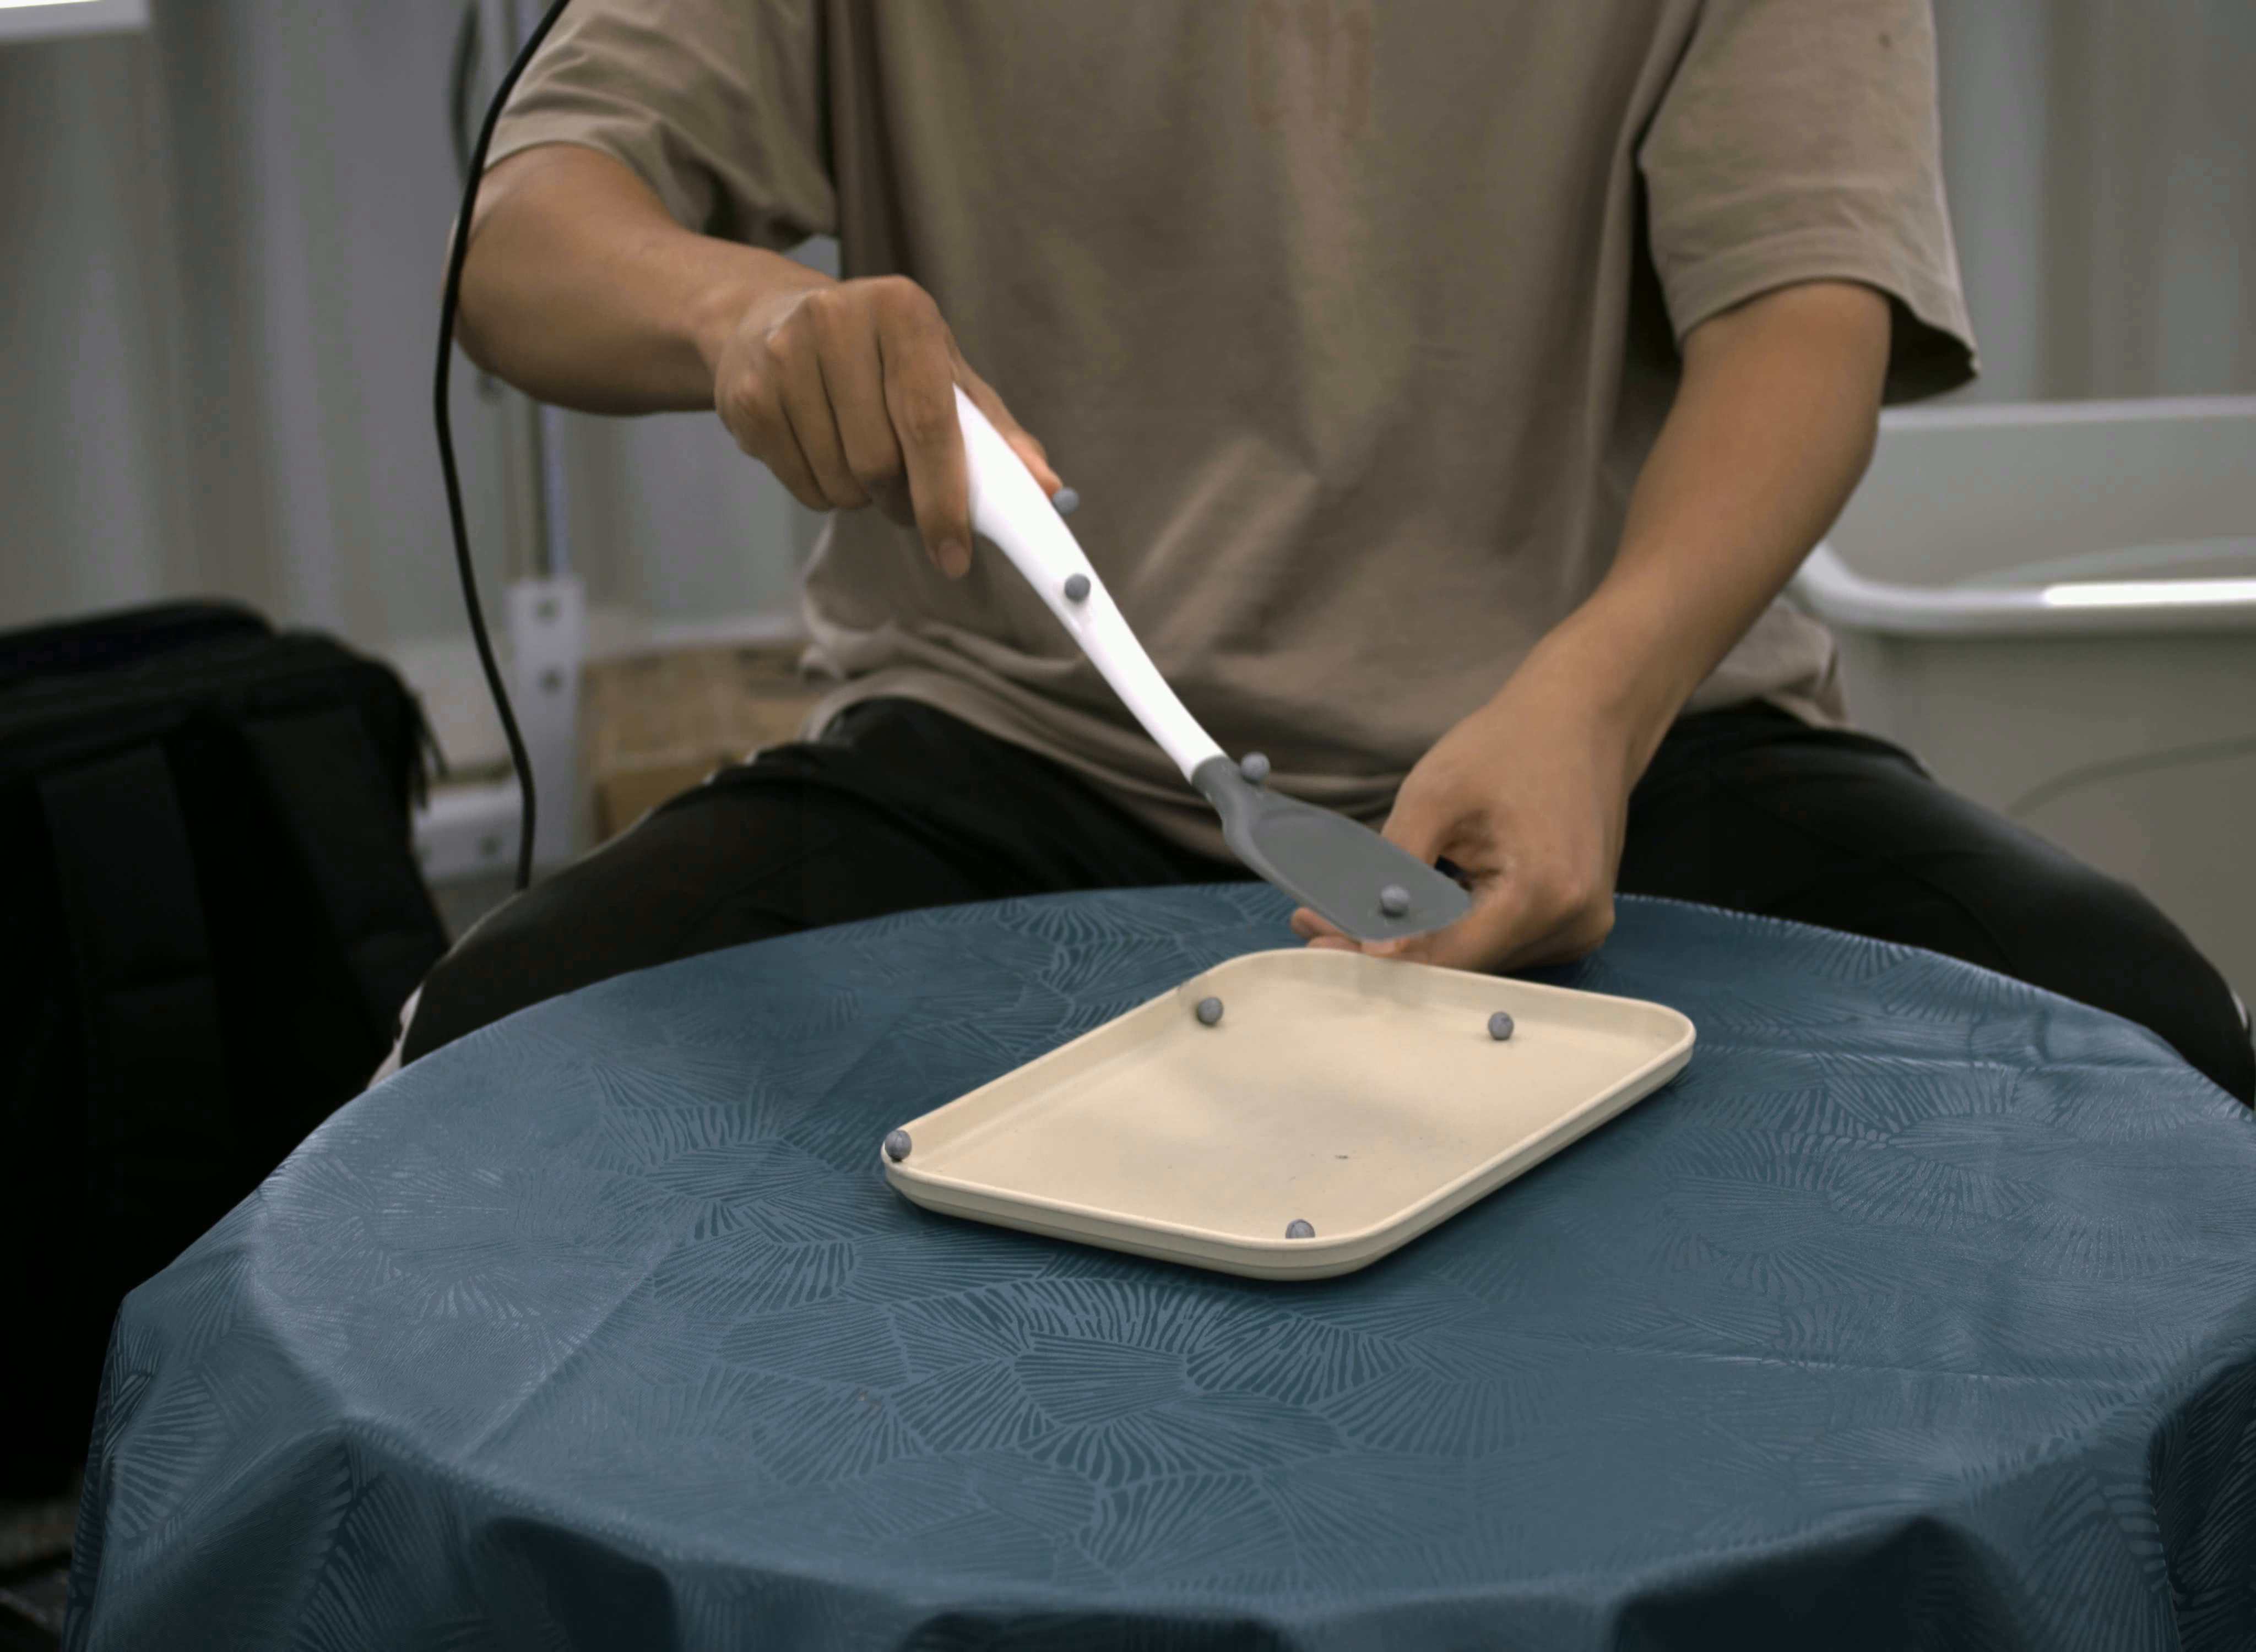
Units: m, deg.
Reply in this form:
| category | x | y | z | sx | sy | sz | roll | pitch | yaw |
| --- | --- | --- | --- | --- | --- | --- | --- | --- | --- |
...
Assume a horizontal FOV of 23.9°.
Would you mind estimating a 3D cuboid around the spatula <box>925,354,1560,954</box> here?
| category | x | y | z | sx | sy | sz | roll | pitch | yaw |
| --- | --- | --- | --- | --- | --- | --- | --- | --- | --- |
| spatula | 0.027 | -0.048 | 1.603 | 0.057 | 0.032 | 0.294 | -7 | 42 | -38 |

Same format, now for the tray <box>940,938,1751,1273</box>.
| category | x | y | z | sx | sy | sz | roll | pitch | yaw |
| --- | --- | --- | --- | --- | --- | --- | --- | --- | --- |
| tray | 0.068 | 0.082 | 1.591 | 0.175 | 0.017 | 0.235 | 10 | 20 | 33 |
